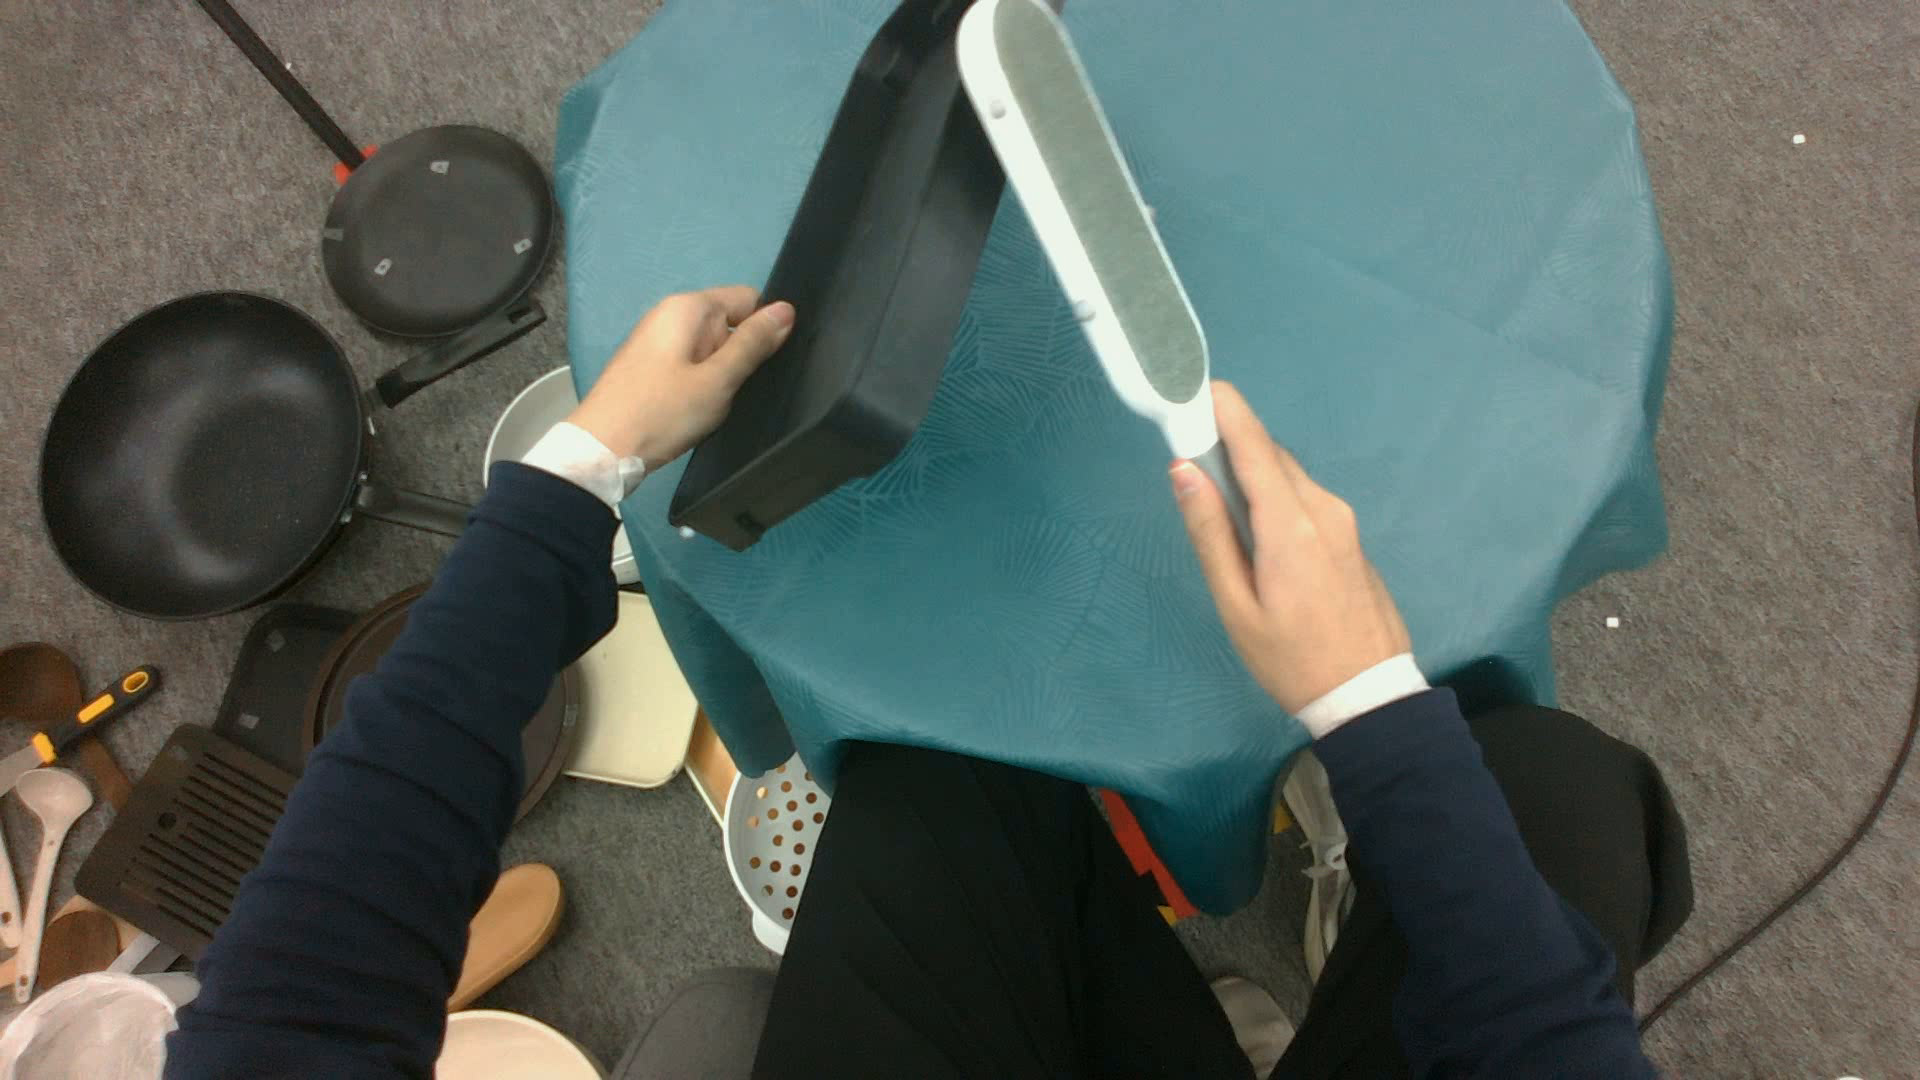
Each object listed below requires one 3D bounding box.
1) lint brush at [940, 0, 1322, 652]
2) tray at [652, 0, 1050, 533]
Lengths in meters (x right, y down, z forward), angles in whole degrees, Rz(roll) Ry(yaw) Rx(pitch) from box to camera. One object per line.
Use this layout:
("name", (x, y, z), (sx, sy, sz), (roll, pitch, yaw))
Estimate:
("lint brush", (0.076, -0.082, 0.566), (0.308, 0.021, 0.060), (60, 40, -13))
("tray", (-0.041, -0.161, 0.631), (0.037, 0.183, 0.319), (29, 62, -23))
